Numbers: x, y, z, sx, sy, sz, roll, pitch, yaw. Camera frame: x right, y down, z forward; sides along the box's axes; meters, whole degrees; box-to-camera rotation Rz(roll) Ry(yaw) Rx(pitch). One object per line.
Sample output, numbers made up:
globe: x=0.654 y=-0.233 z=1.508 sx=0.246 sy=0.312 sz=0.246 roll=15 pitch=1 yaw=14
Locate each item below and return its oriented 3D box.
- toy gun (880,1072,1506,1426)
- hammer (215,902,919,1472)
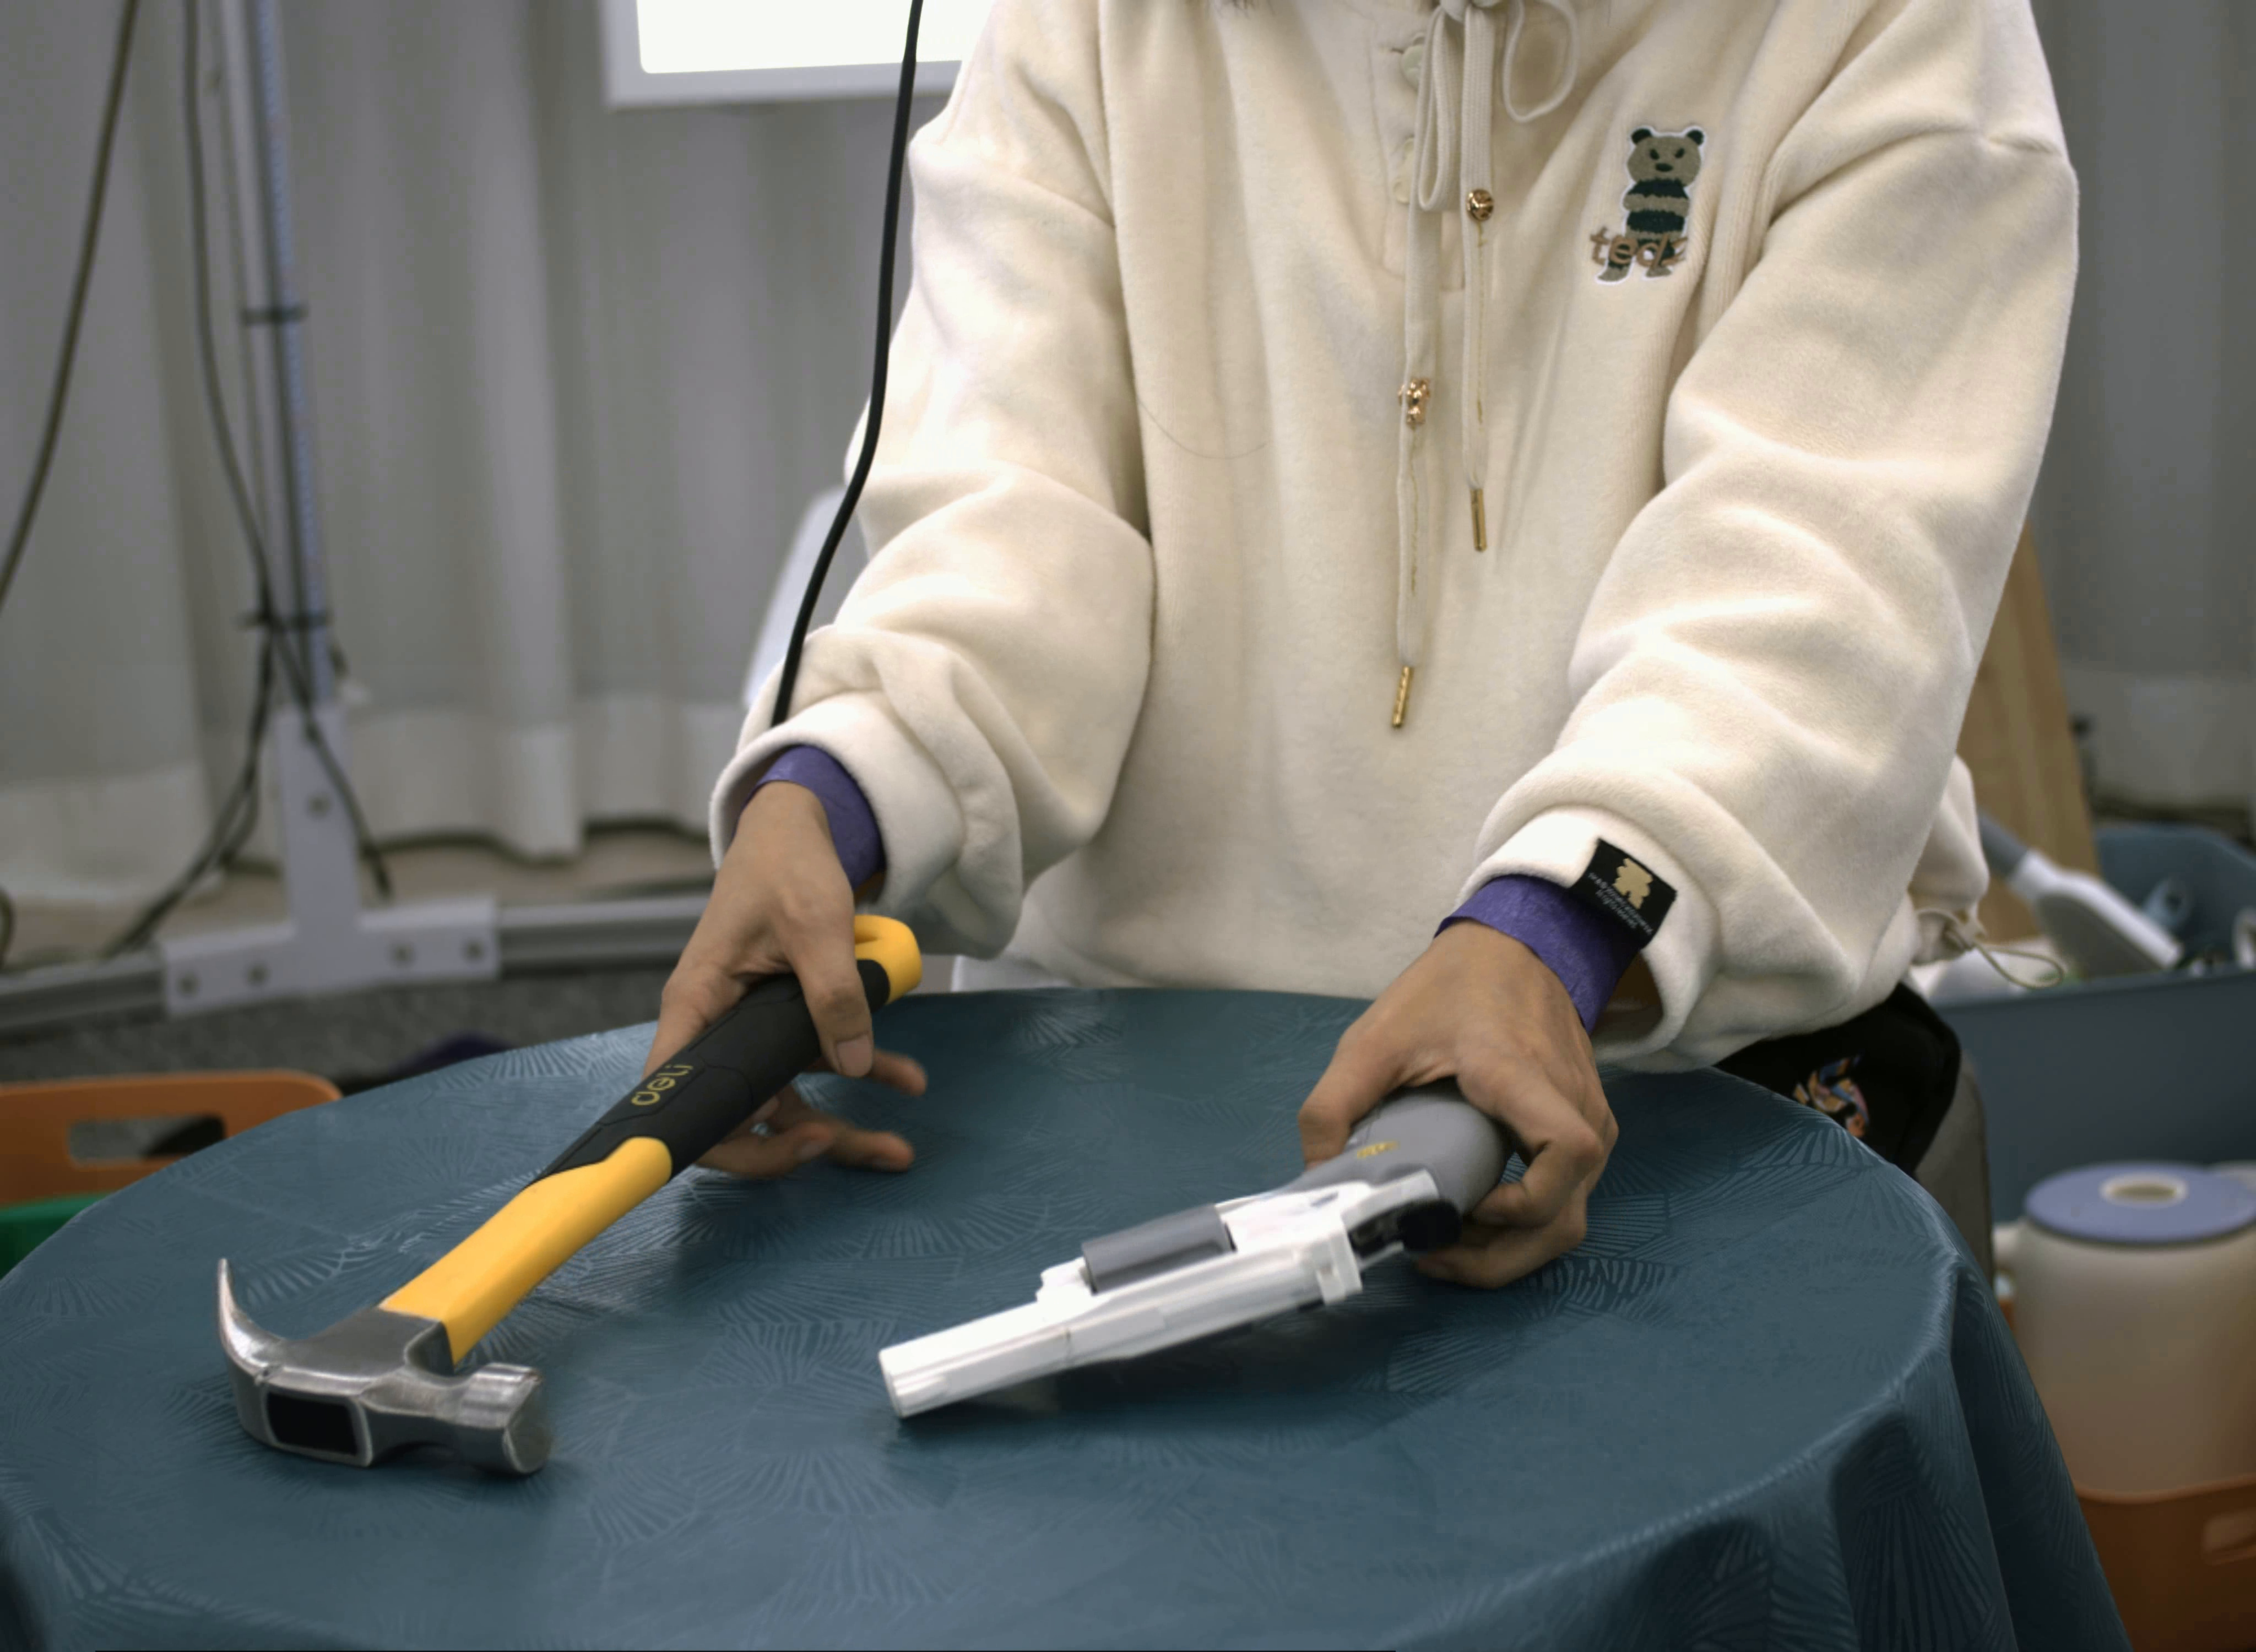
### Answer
toy gun: x=0.024 y=0.122 z=1.583 sx=0.208 sy=0.039 sz=0.142 roll=-16 pitch=11 yaw=-7
hammer: x=-0.155 y=0.100 z=1.655 sx=0.131 sy=0.032 sz=0.340 roll=1 pitch=23 yaw=27
